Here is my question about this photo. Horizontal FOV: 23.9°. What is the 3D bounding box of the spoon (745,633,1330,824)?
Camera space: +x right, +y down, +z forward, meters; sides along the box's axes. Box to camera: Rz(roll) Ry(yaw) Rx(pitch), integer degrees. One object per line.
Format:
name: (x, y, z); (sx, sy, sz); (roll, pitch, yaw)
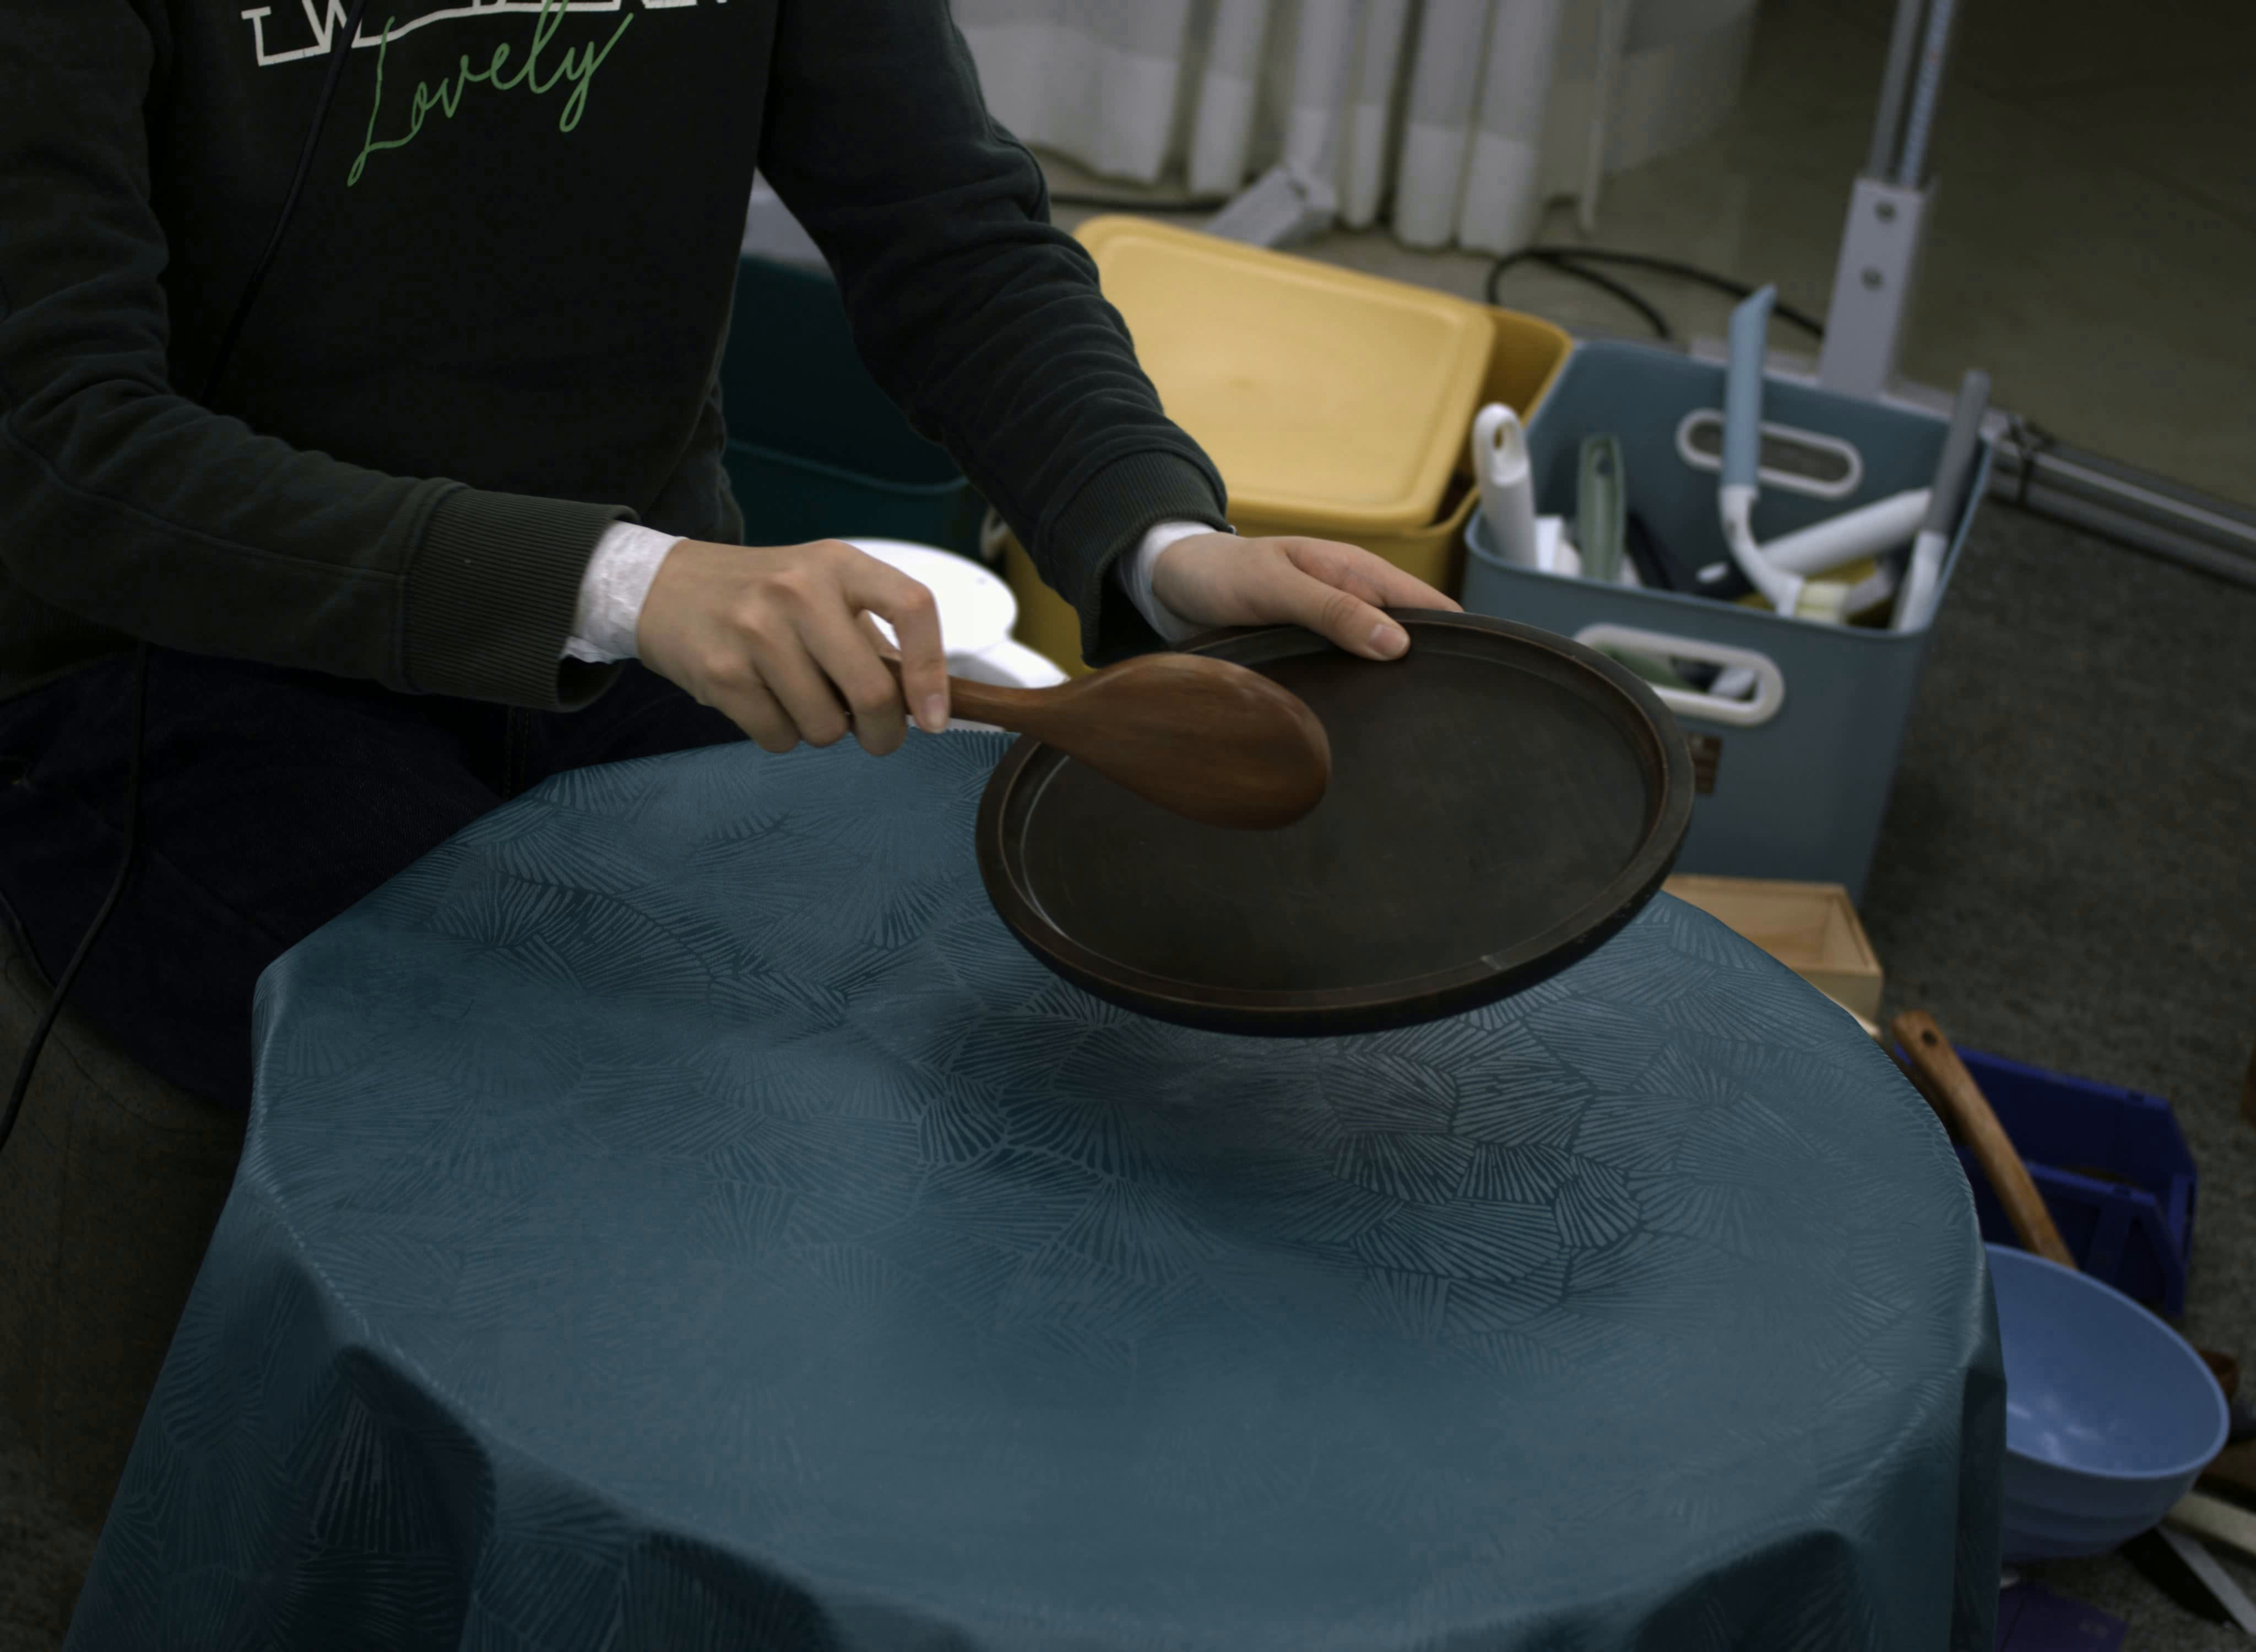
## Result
spoon: (-0.033, -0.037, 1.805); (0.216, 0.075, 0.017); (11, 49, 23)

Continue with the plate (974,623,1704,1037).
plate: (0.074, -0.001, 1.854); (0.254, 0.029, 0.256); (-5, 33, 3)
